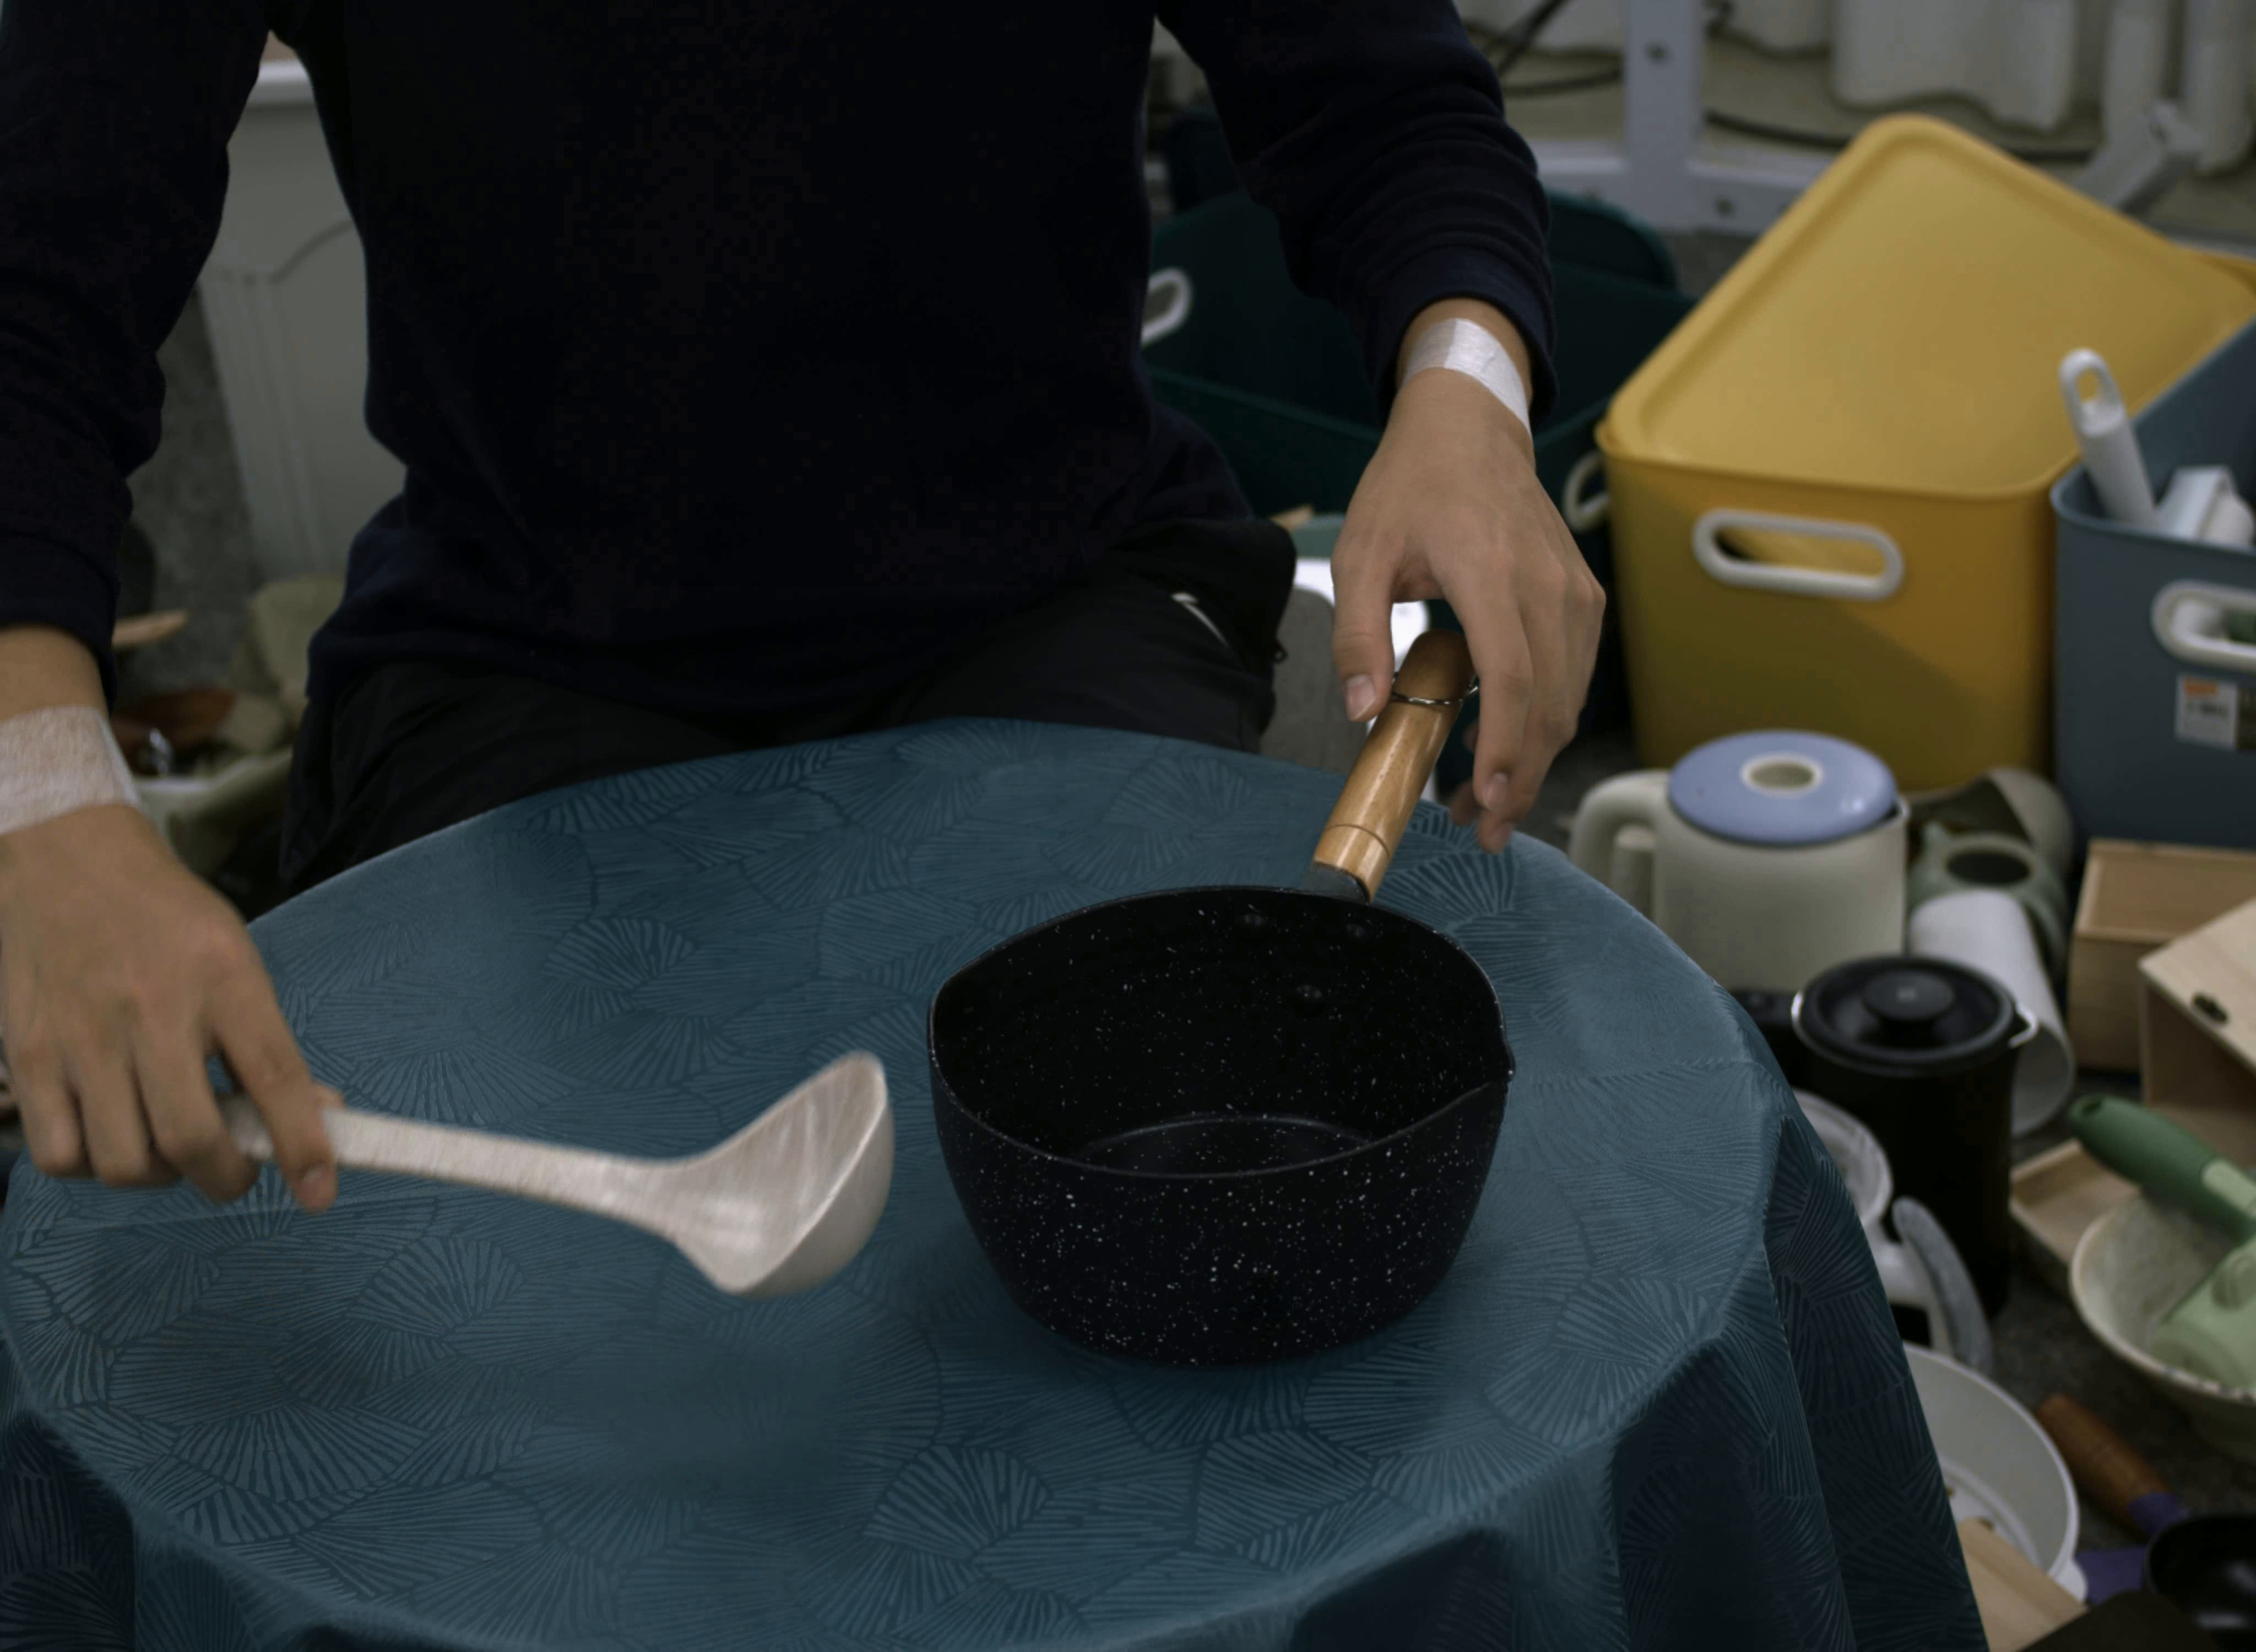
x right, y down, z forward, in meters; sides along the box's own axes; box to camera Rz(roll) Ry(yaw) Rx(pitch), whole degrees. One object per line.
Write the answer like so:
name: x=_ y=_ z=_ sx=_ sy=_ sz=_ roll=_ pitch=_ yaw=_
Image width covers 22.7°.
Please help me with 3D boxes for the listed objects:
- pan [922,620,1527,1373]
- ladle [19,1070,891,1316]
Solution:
pan: x=0.056 y=0.053 z=1.873 sx=0.206 sy=0.107 sz=0.349 roll=6 pitch=30 yaw=19
ladle: x=-0.208 y=0.093 z=1.717 sx=0.273 sy=0.068 sz=0.091 roll=10 pitch=46 yaw=4
